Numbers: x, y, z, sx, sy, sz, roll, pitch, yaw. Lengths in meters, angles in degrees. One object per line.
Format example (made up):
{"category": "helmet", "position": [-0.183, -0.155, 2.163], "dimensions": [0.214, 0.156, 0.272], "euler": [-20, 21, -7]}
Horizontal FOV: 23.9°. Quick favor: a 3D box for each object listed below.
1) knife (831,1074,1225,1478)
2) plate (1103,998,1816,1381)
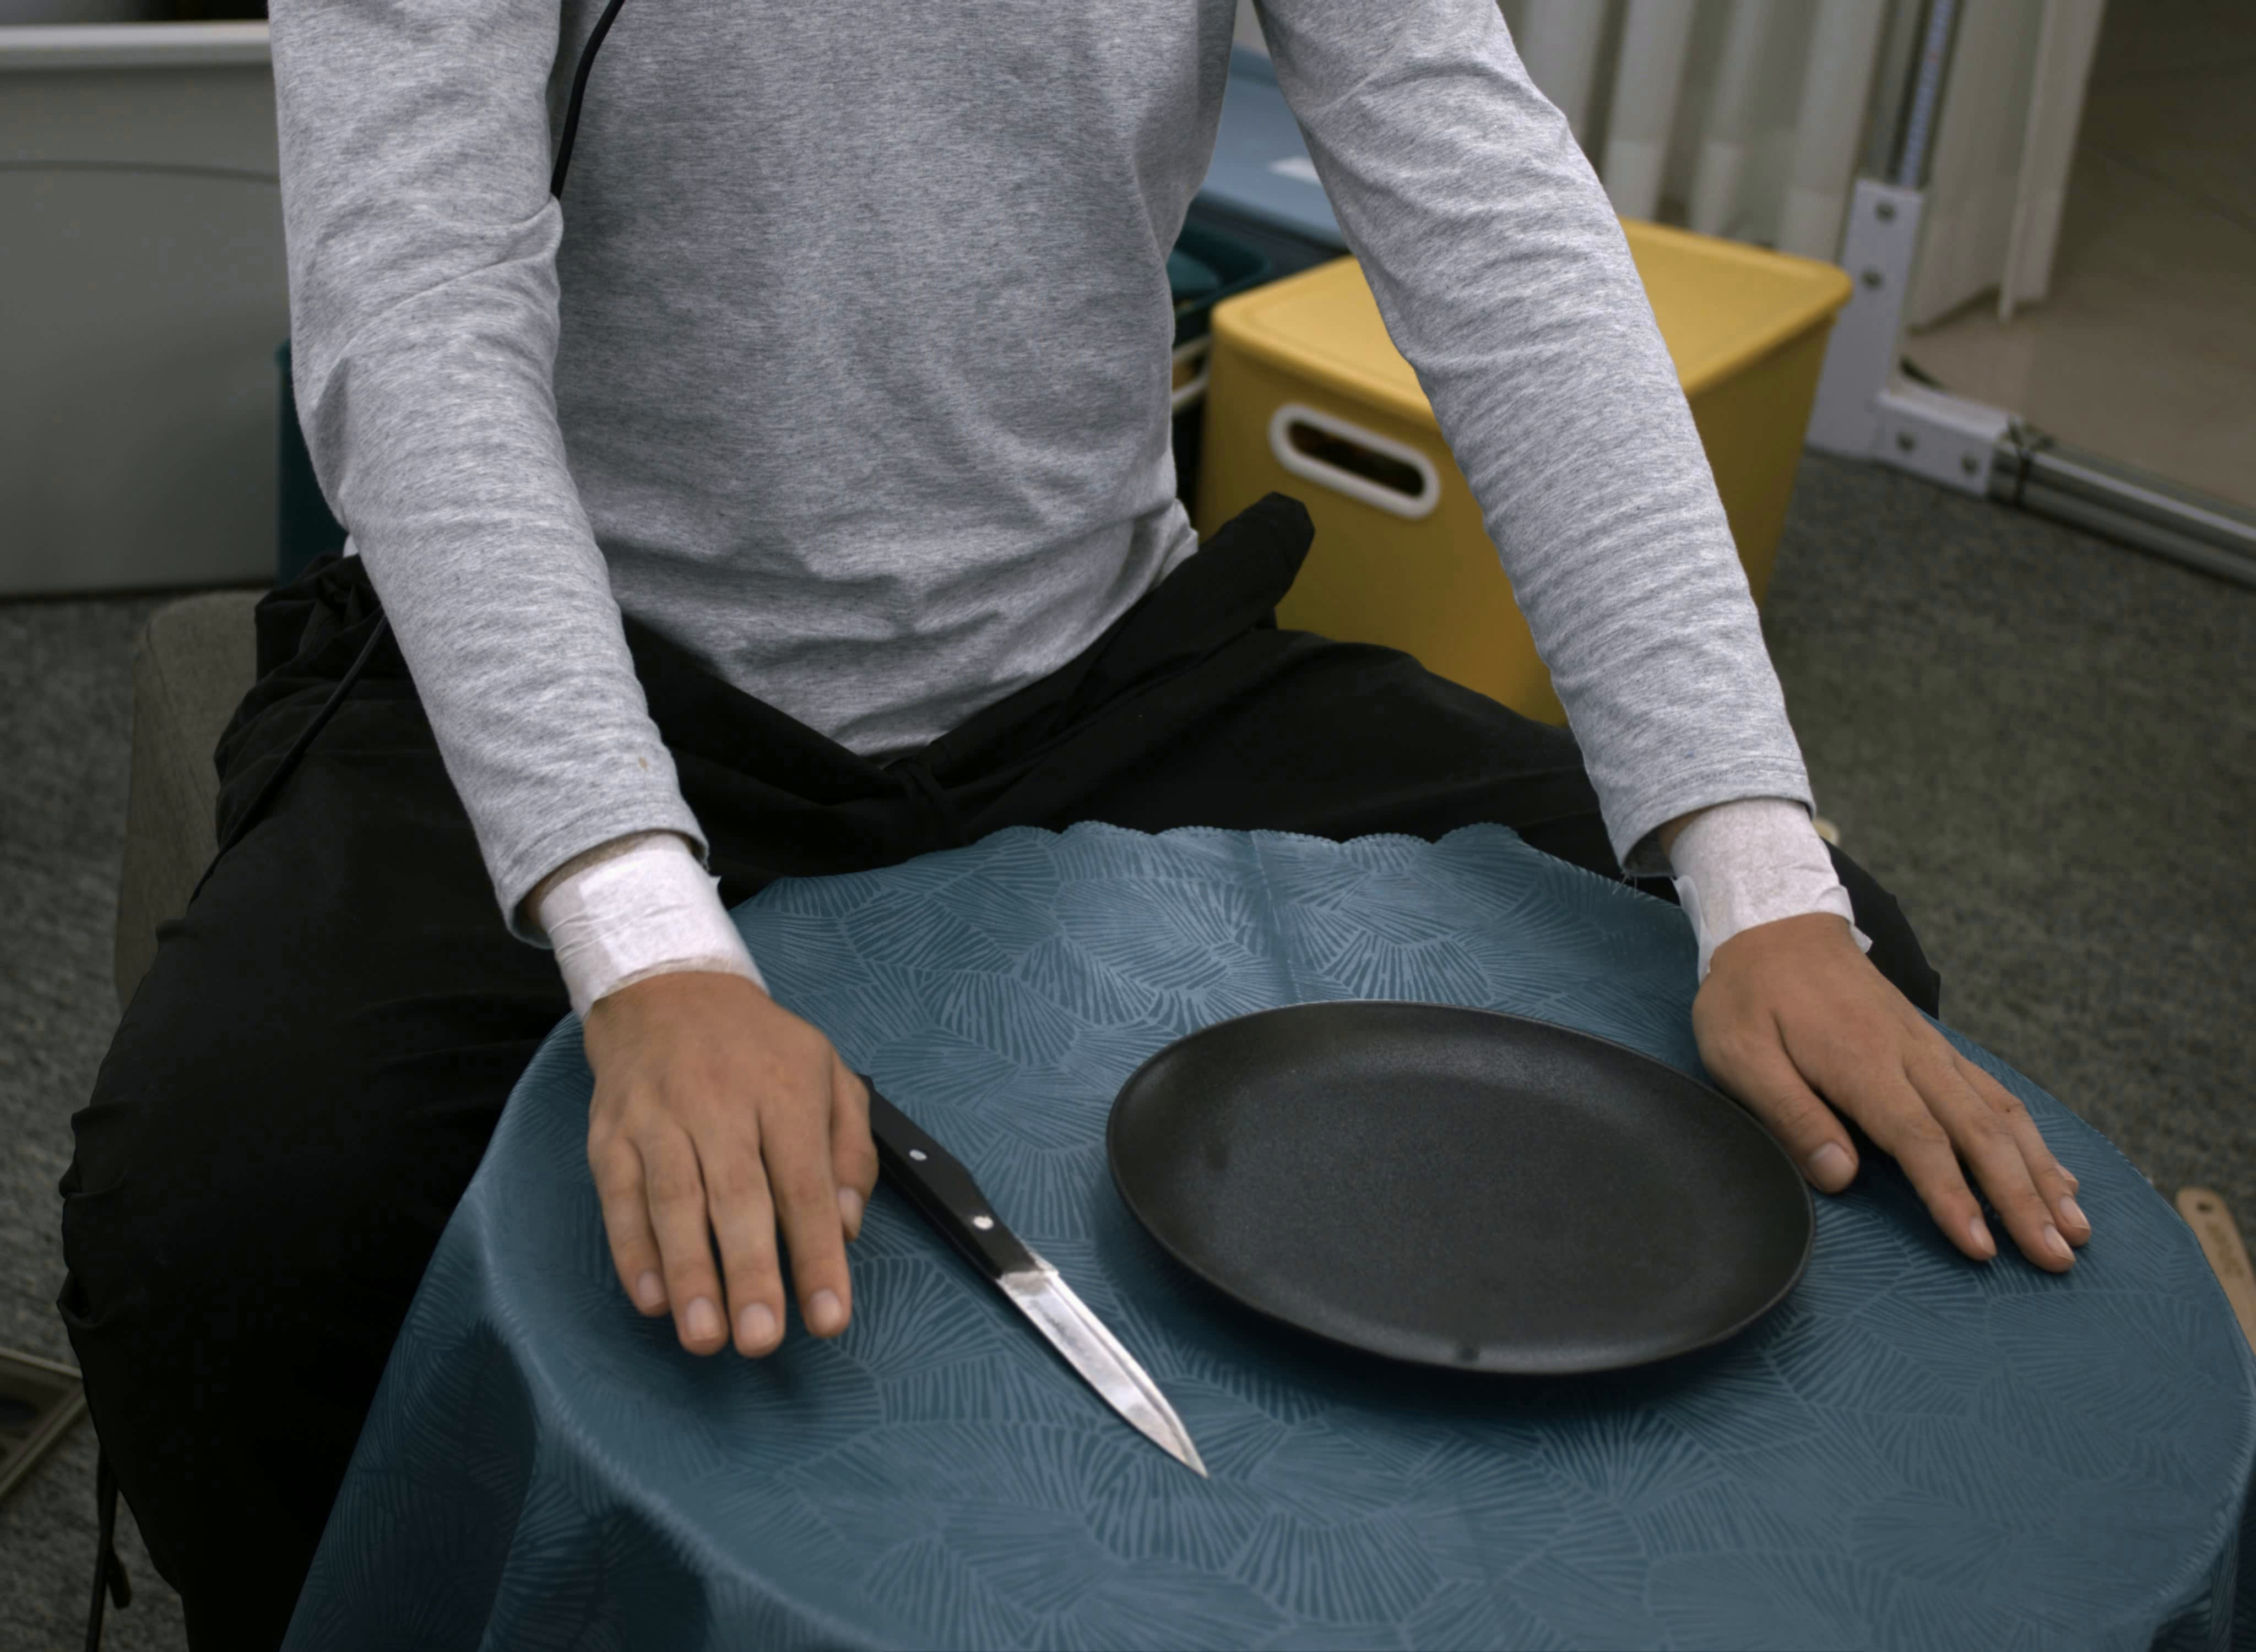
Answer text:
{"category": "knife", "position": [-0.036, 0.147, 1.739], "dimensions": [0.024, 0.016, 0.240], "euler": [-14, 36, -29]}
{"category": "plate", "position": [0.111, 0.126, 1.801], "dimensions": [0.243, 0.023, 0.246], "euler": [5, 27, -3]}
